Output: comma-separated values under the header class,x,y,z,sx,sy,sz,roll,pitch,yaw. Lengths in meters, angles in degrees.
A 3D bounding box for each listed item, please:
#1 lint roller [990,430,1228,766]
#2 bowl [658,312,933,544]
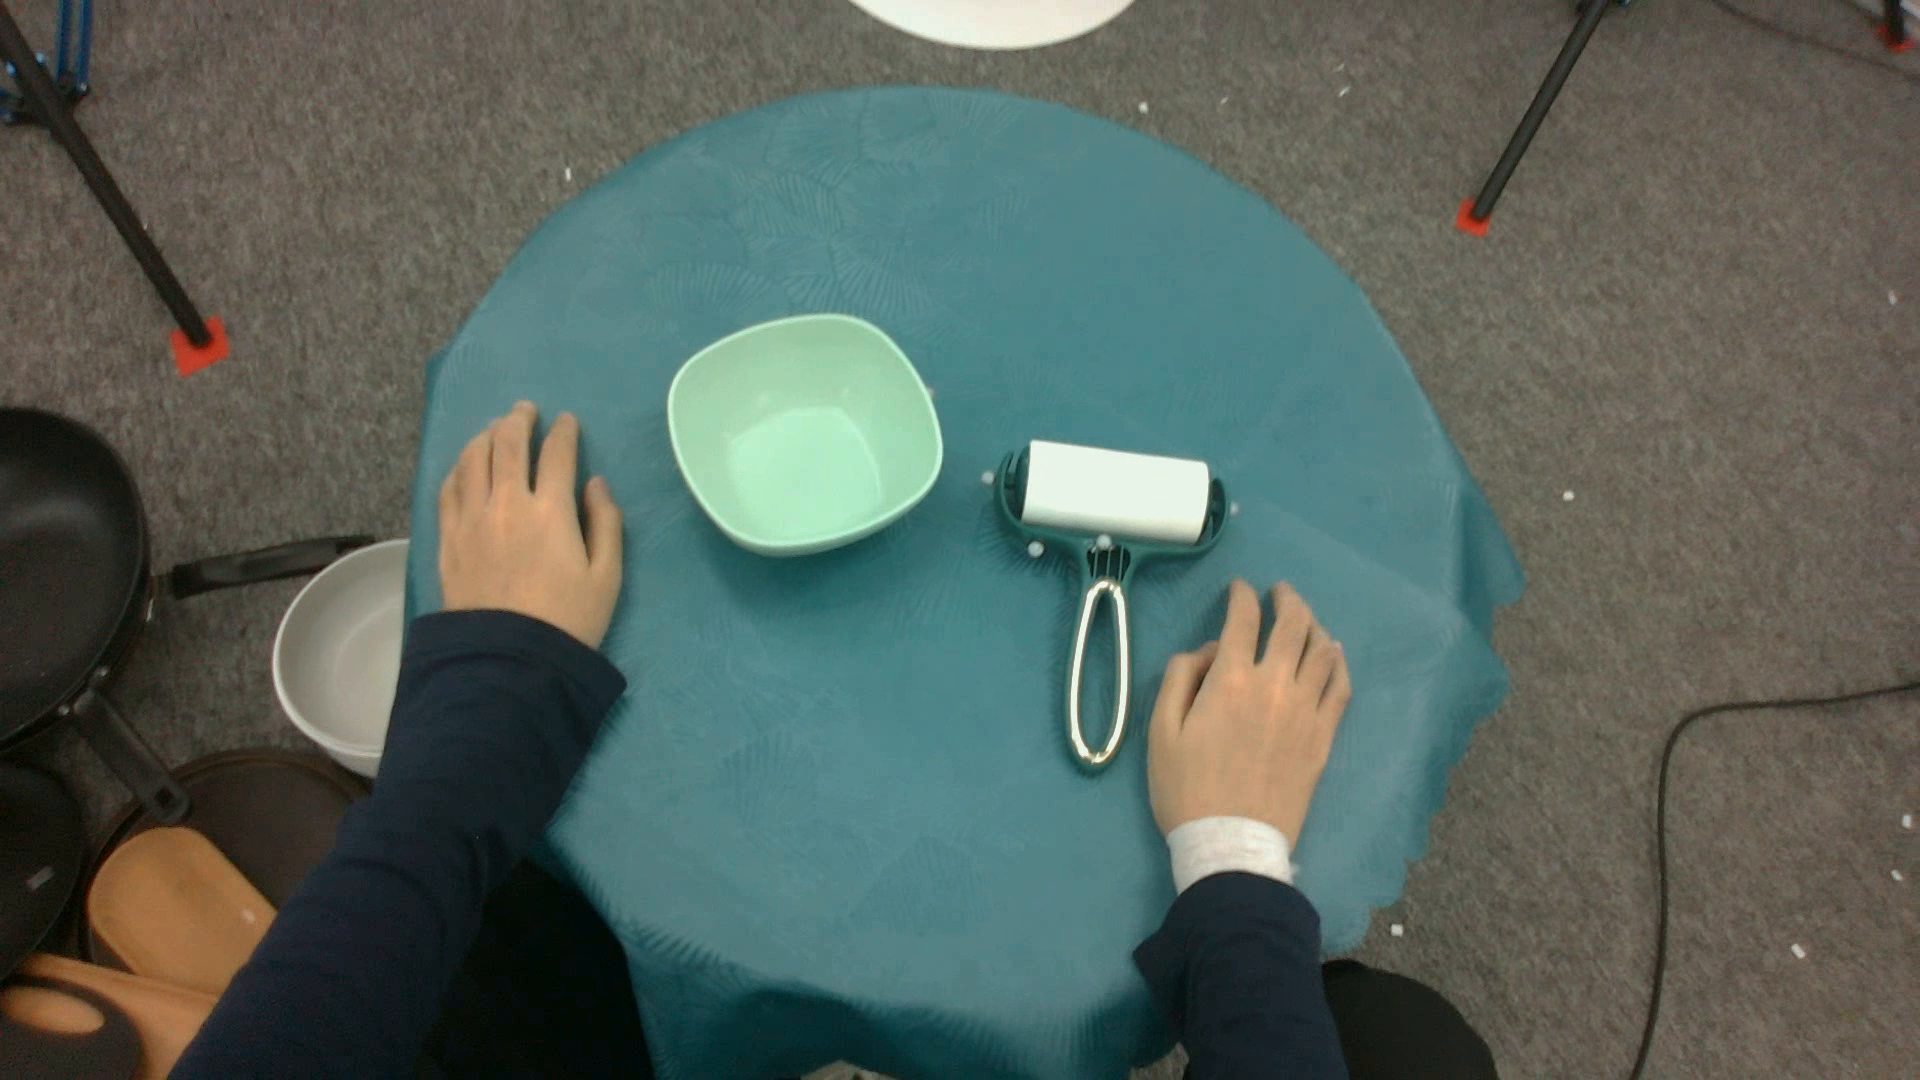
class,x,y,z,sx,sy,sz,roll,pitch,yaw
lint roller,0.076,0.028,0.742,0.134,0.048,0.181,7,64,-3
bowl,-0.090,-0.052,0.754,0.151,0.058,0.152,3,58,-5
